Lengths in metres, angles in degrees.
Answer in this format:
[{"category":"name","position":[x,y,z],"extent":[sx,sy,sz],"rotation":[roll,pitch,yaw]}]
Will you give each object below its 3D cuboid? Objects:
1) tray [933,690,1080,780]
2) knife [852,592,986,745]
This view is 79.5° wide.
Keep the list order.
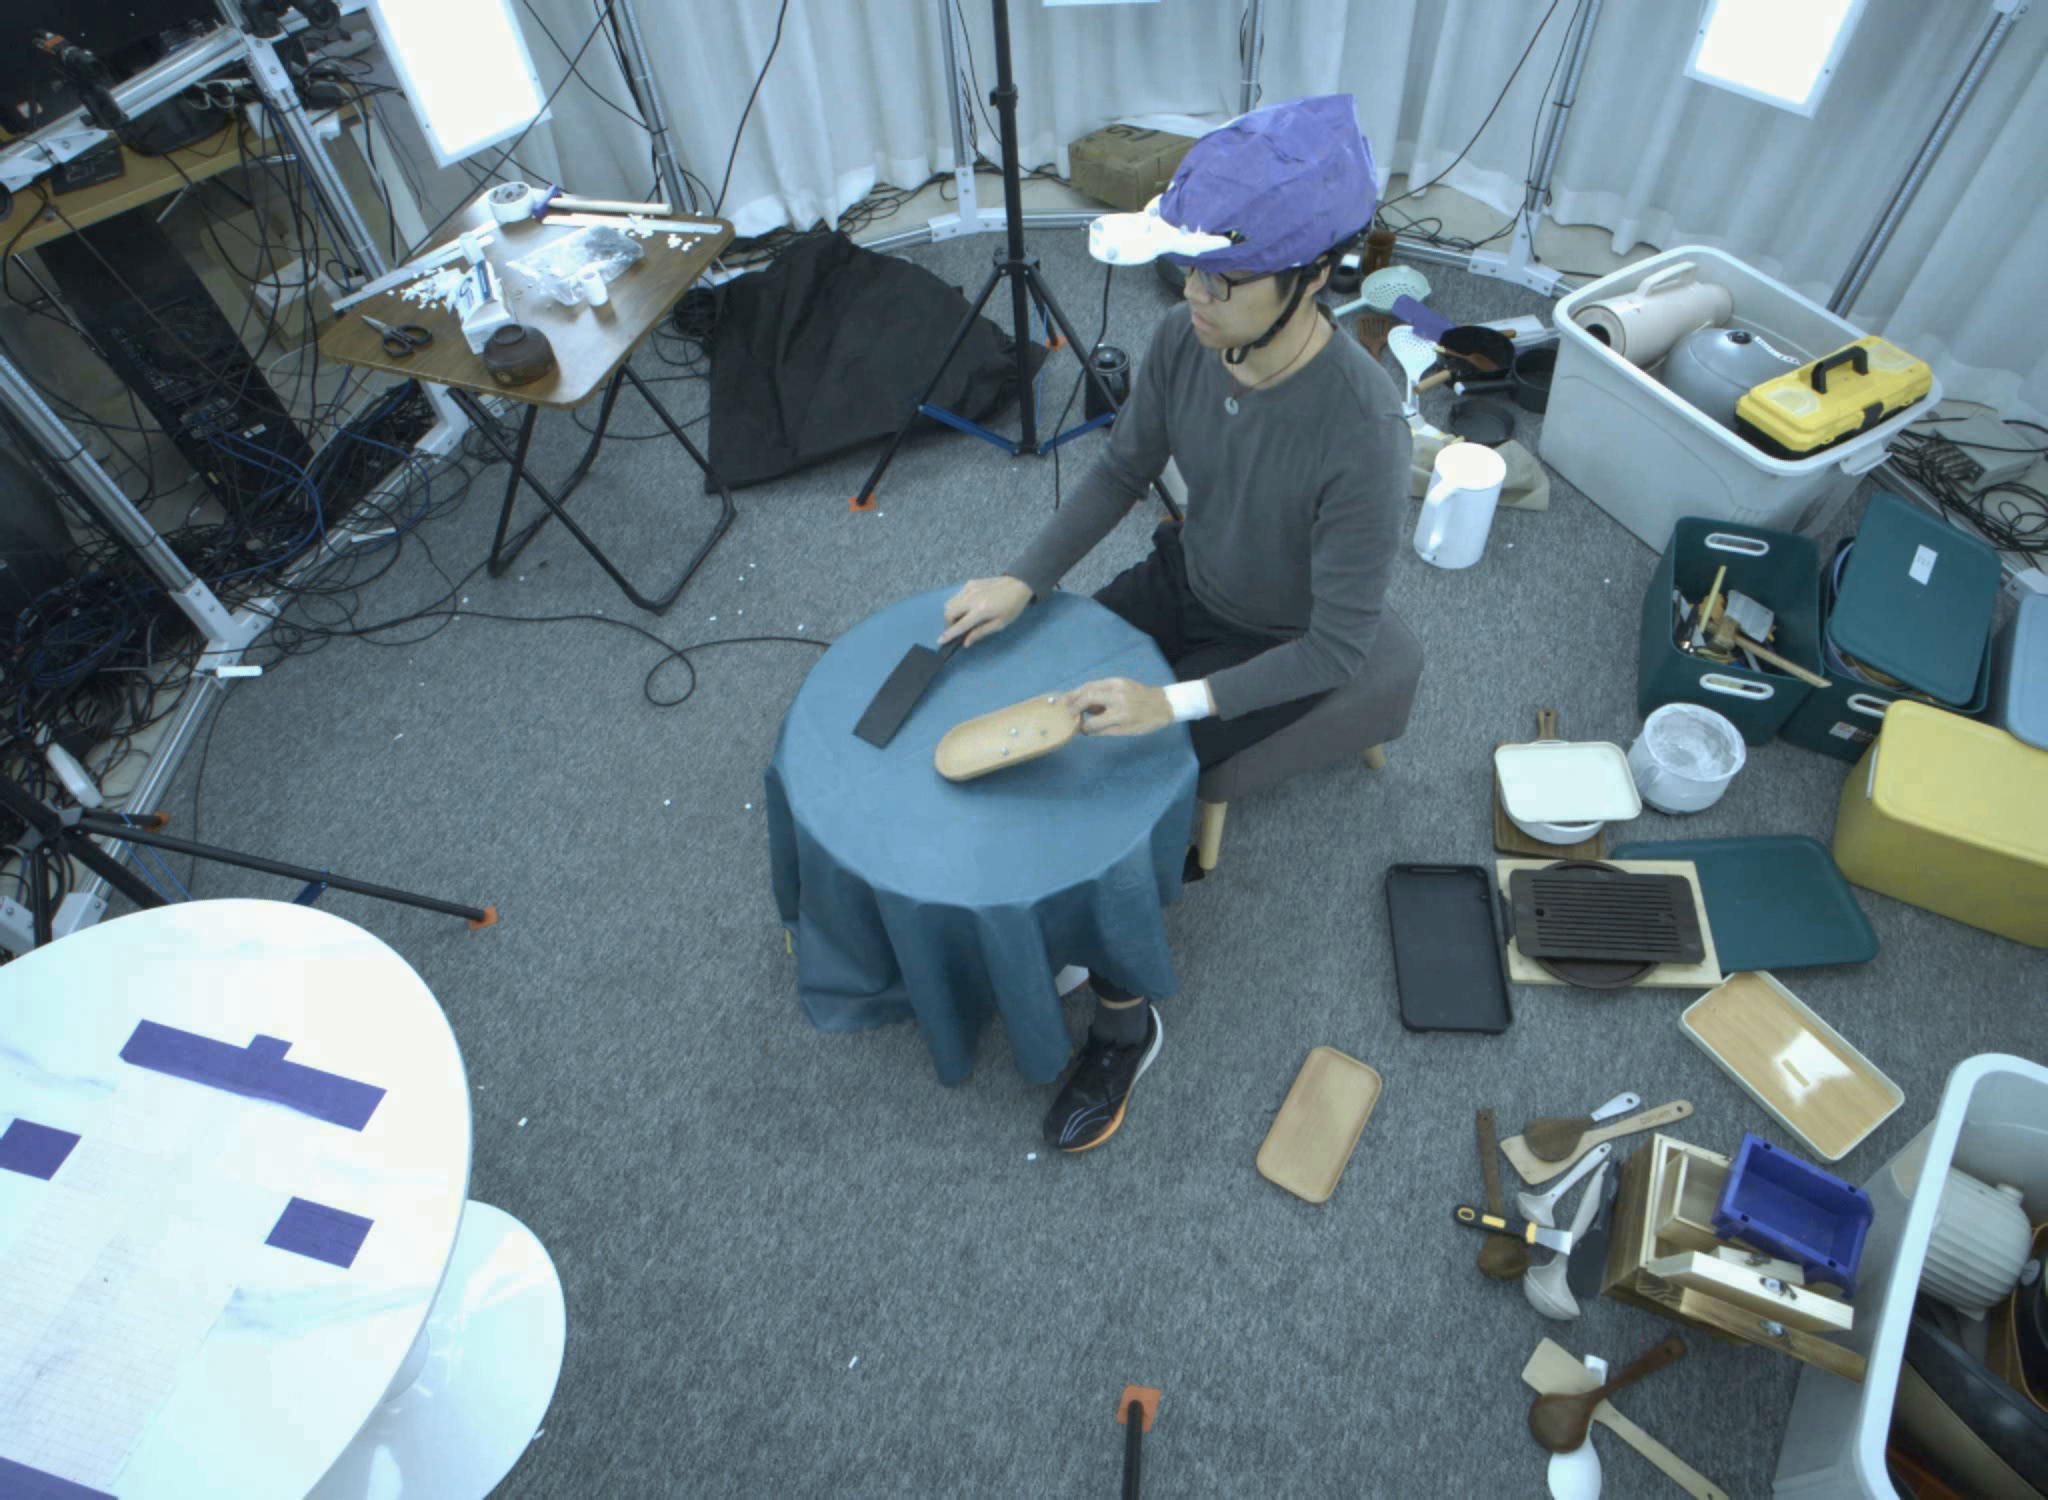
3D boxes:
[{"category":"tray","position":[-0.026,-0.020,1.744],"extent":[0.229,0.021,0.100],"rotation":[-21,43,17]},{"category":"knife","position":[-0.153,-0.129,1.863],"extent":[0.079,0.021,0.303],"rotation":[27,67,25]}]
